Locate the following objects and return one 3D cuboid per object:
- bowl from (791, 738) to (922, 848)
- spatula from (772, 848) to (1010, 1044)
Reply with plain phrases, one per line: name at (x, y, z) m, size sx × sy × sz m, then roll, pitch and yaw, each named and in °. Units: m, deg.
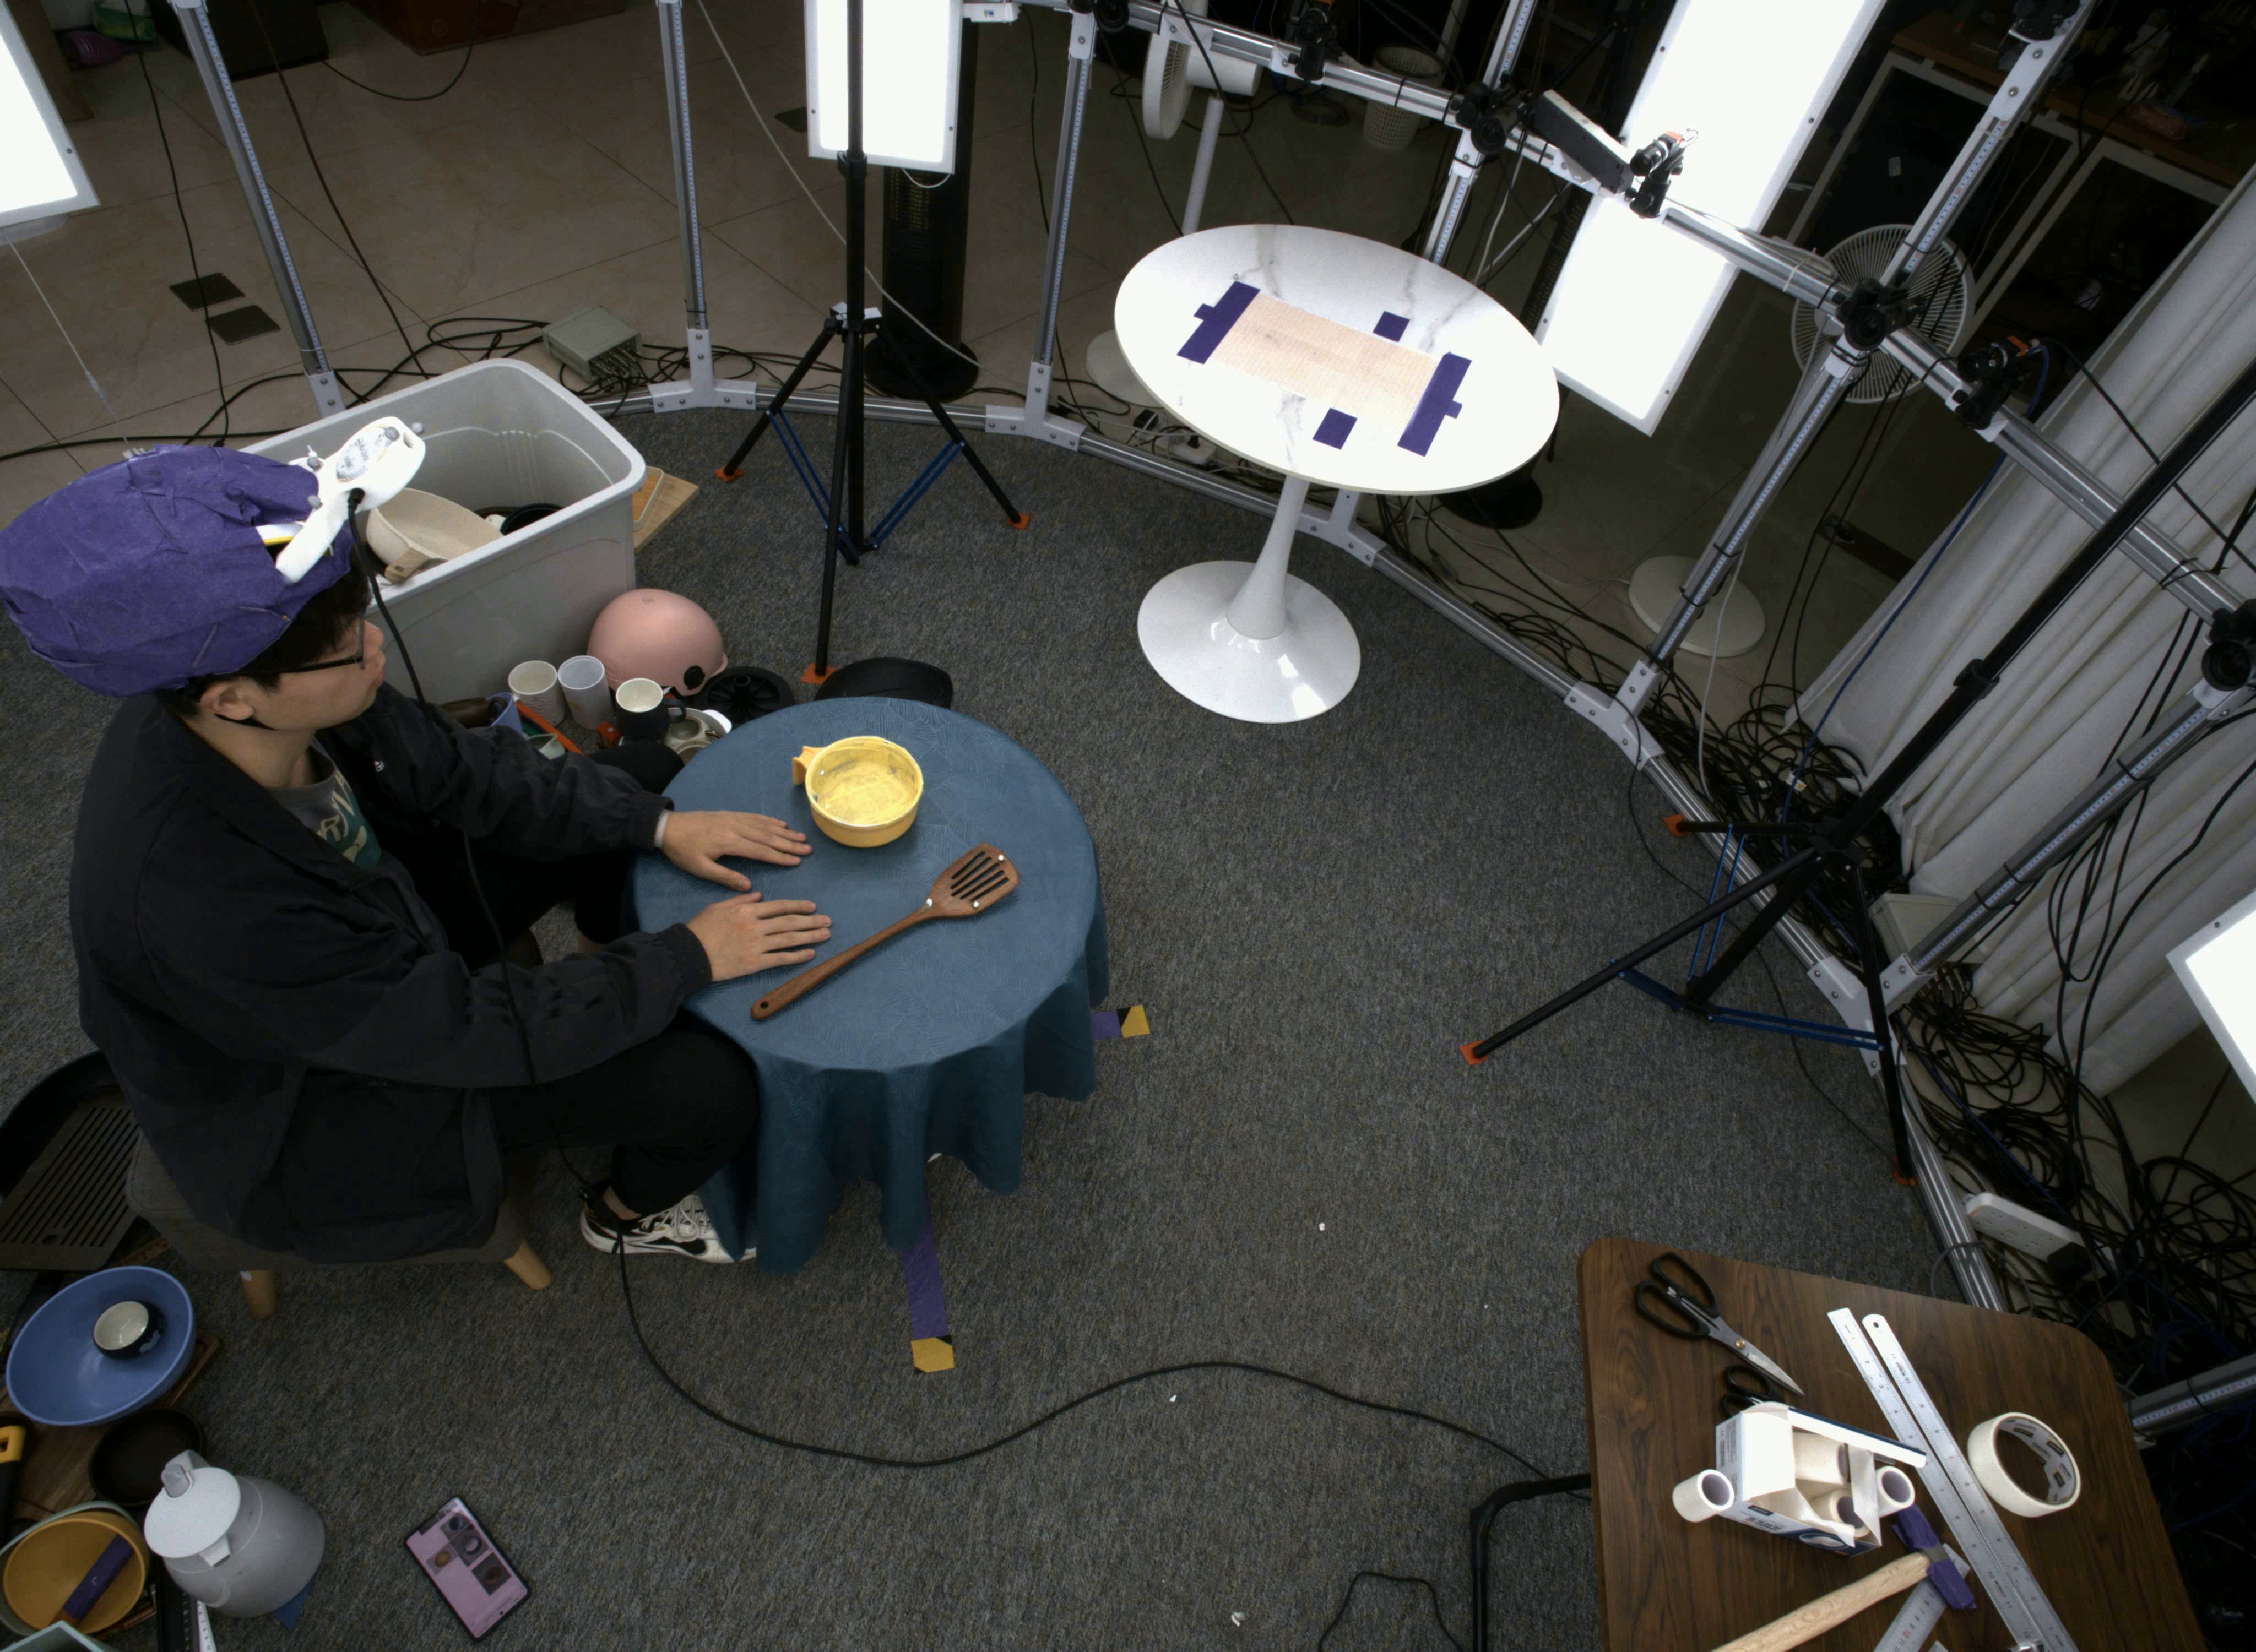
bowl at (-0.365, -0.047, 1.734) m, size 0.177 × 0.076 × 0.151 m, roll 21°, pitch 51°, yaw 2°
spatula at (-0.298, 0.149, 1.641) m, size 0.083 × 0.024 × 0.387 m, roll 32°, pitch 50°, yaw 22°
